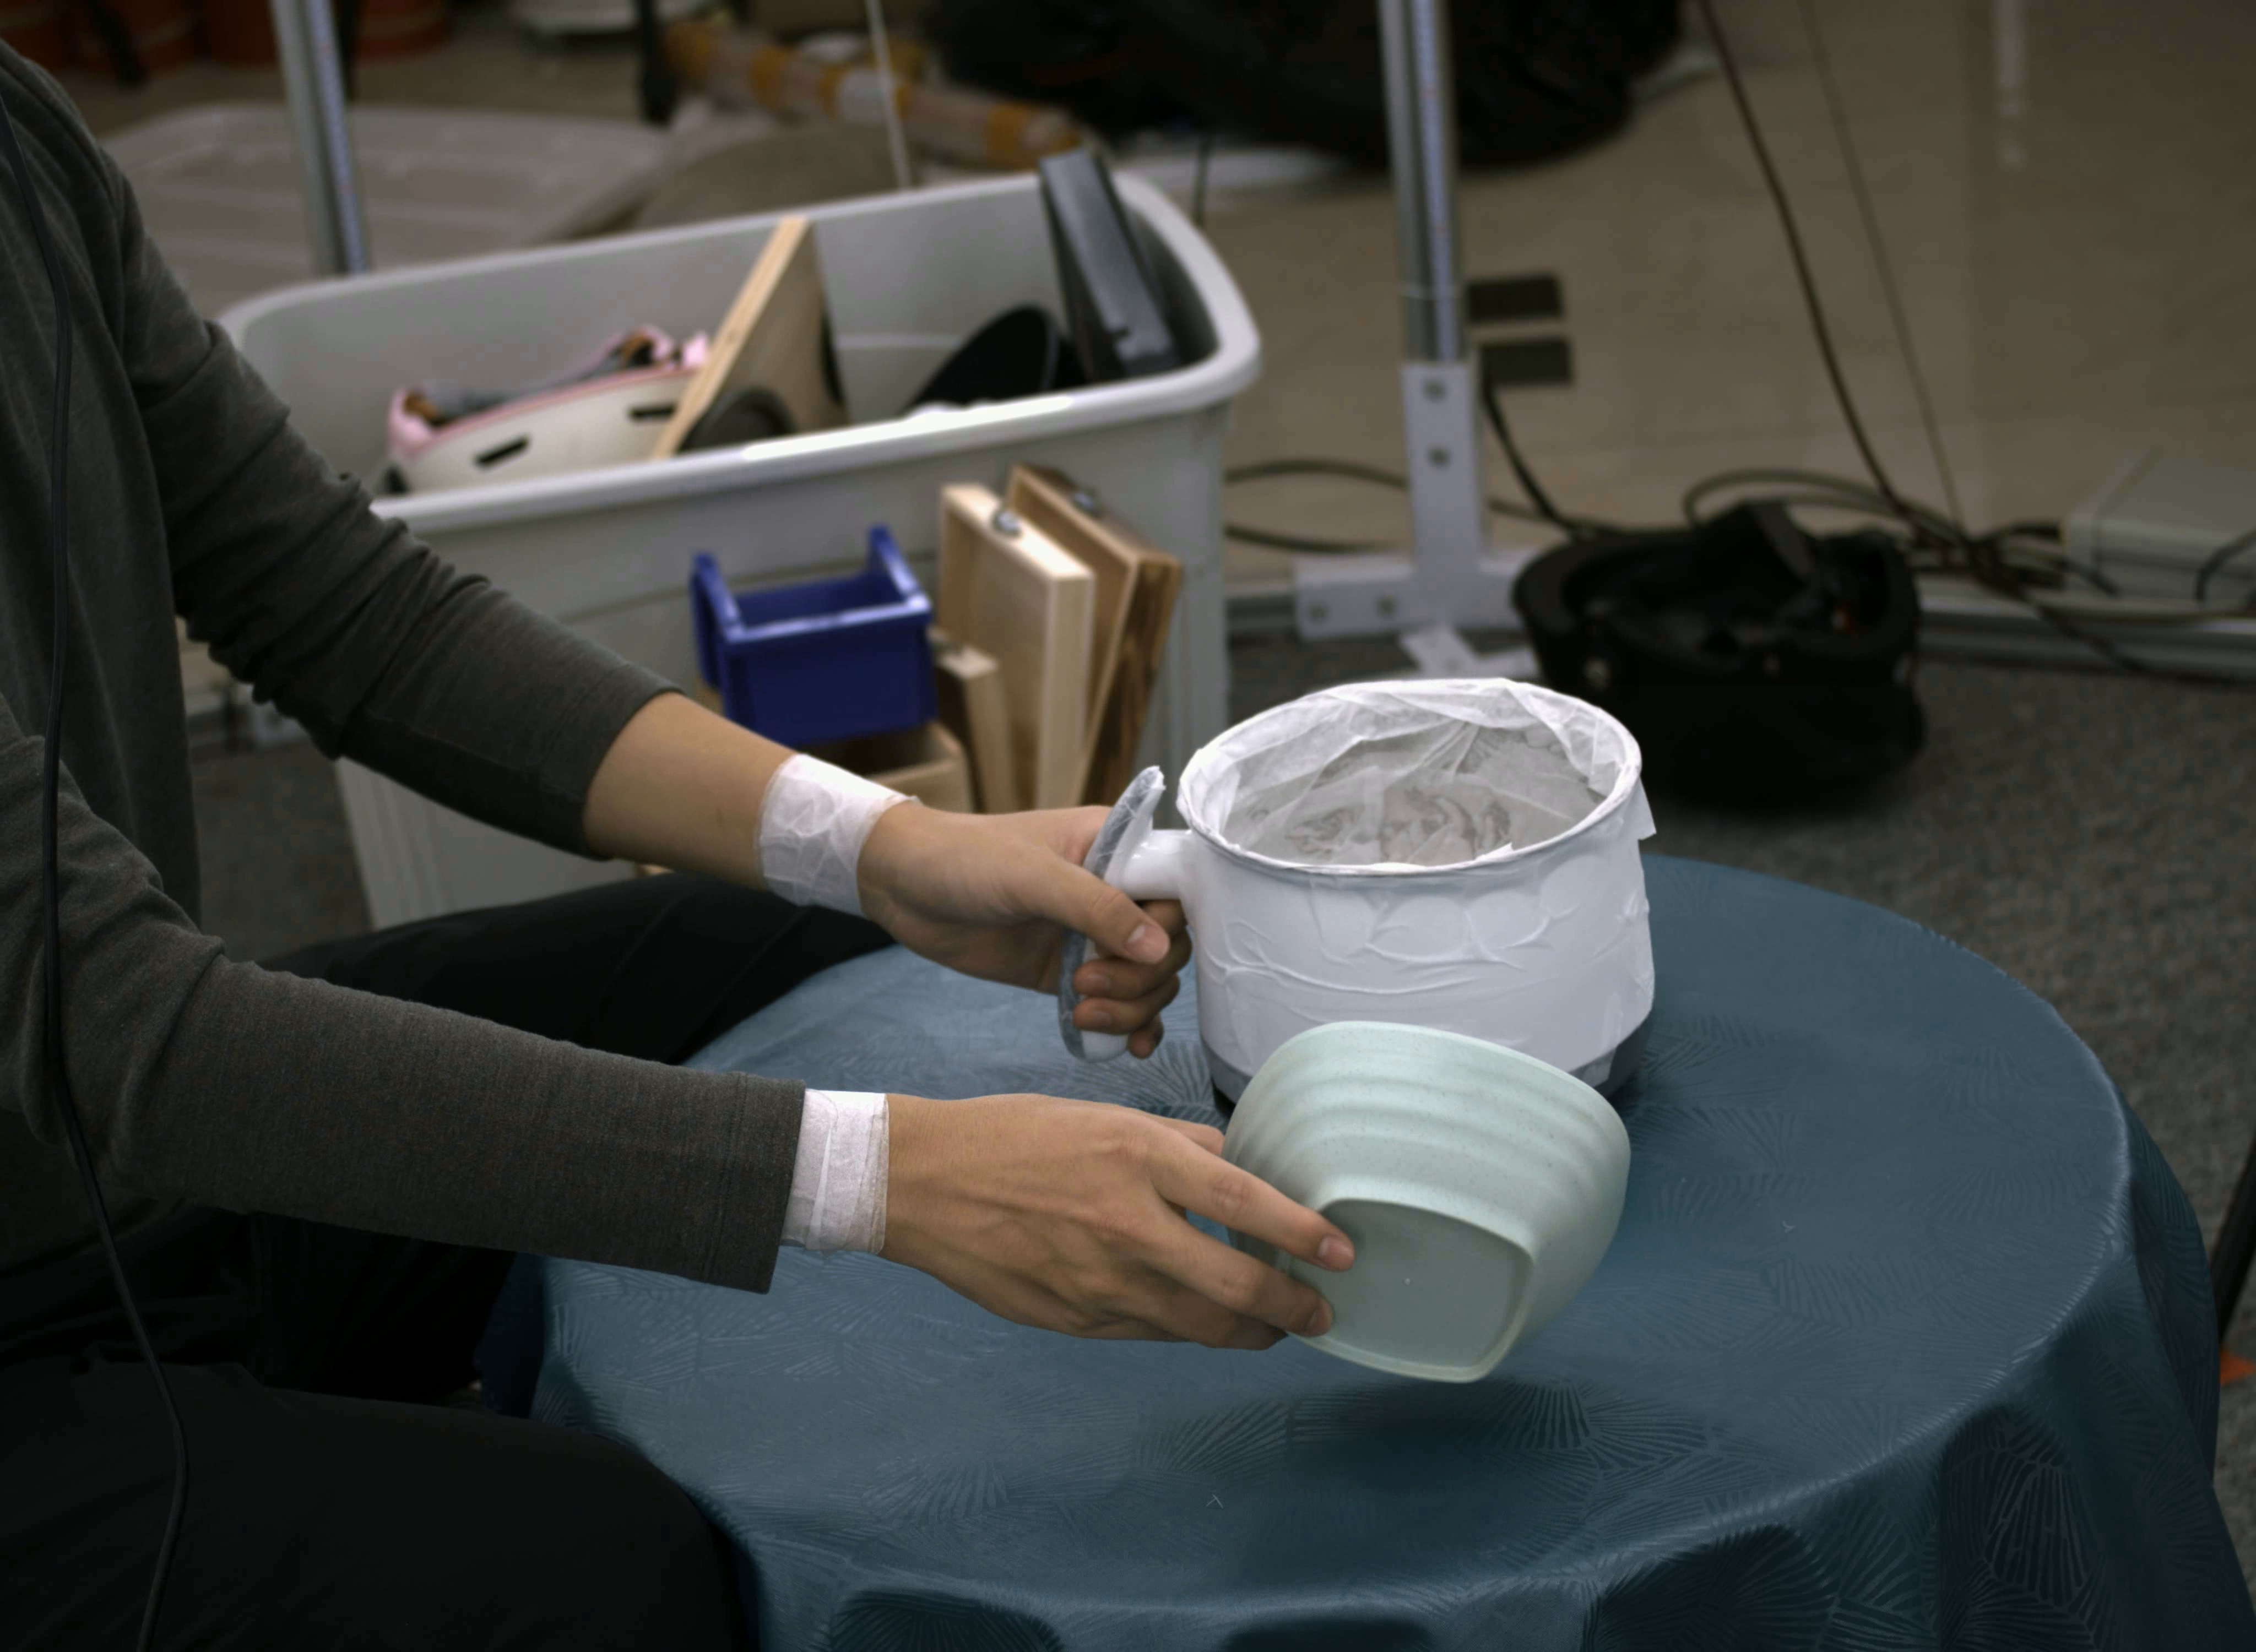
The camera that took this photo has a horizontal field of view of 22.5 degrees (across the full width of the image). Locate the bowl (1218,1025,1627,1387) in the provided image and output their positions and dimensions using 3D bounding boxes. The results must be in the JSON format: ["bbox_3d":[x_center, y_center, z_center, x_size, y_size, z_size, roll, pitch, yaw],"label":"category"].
[{"bbox_3d":[0.096,0.139,1.932,0.151,0.154,0.057,1,44,14],"label":"bowl"}]

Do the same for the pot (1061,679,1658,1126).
[{"bbox_3d":[0.086,0.039,2.183,0.233,0.139,0.176,-2,26,9],"label":"pot"}]
